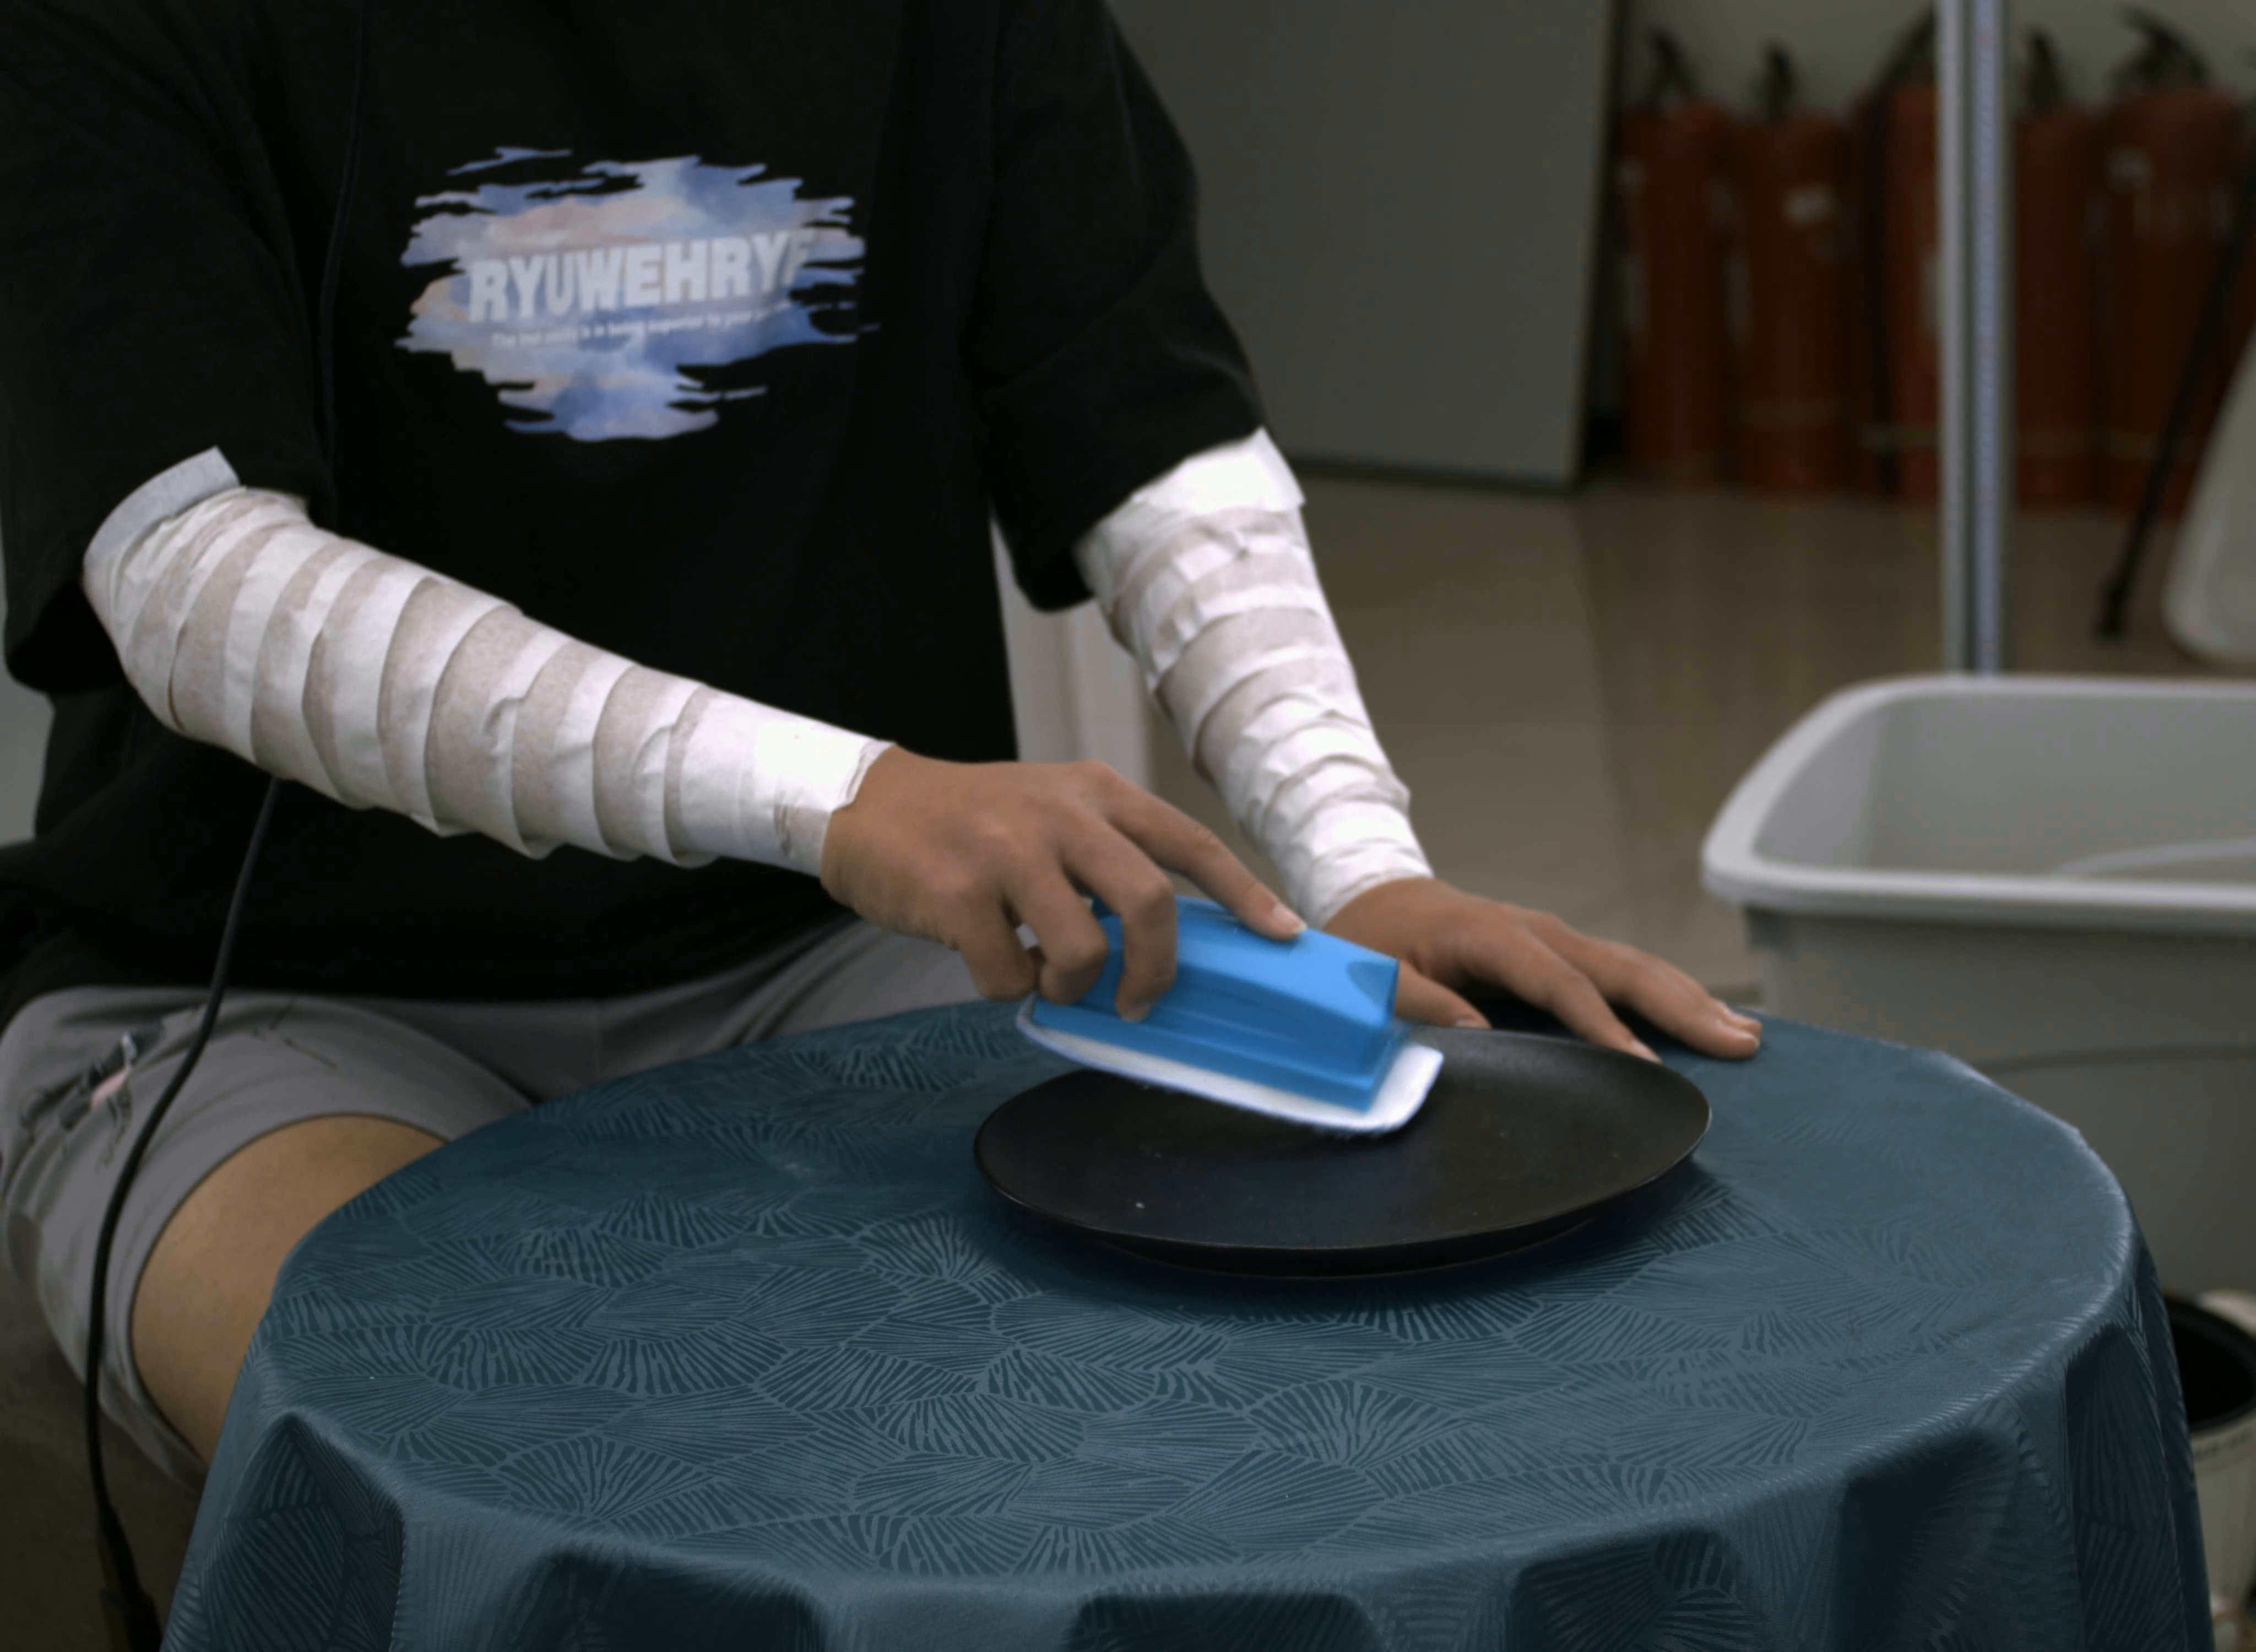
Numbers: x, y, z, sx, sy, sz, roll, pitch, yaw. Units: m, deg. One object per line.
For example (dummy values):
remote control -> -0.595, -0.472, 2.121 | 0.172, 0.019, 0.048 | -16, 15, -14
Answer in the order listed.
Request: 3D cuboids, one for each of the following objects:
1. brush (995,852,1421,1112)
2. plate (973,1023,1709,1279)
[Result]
brush -> 0.031, 0.050, 1.816 | 0.143, 0.056, 0.083 | 17, 25, 10
plate -> 0.069, 0.108, 1.756 | 0.241, 0.024, 0.245 | -4, 14, 0
